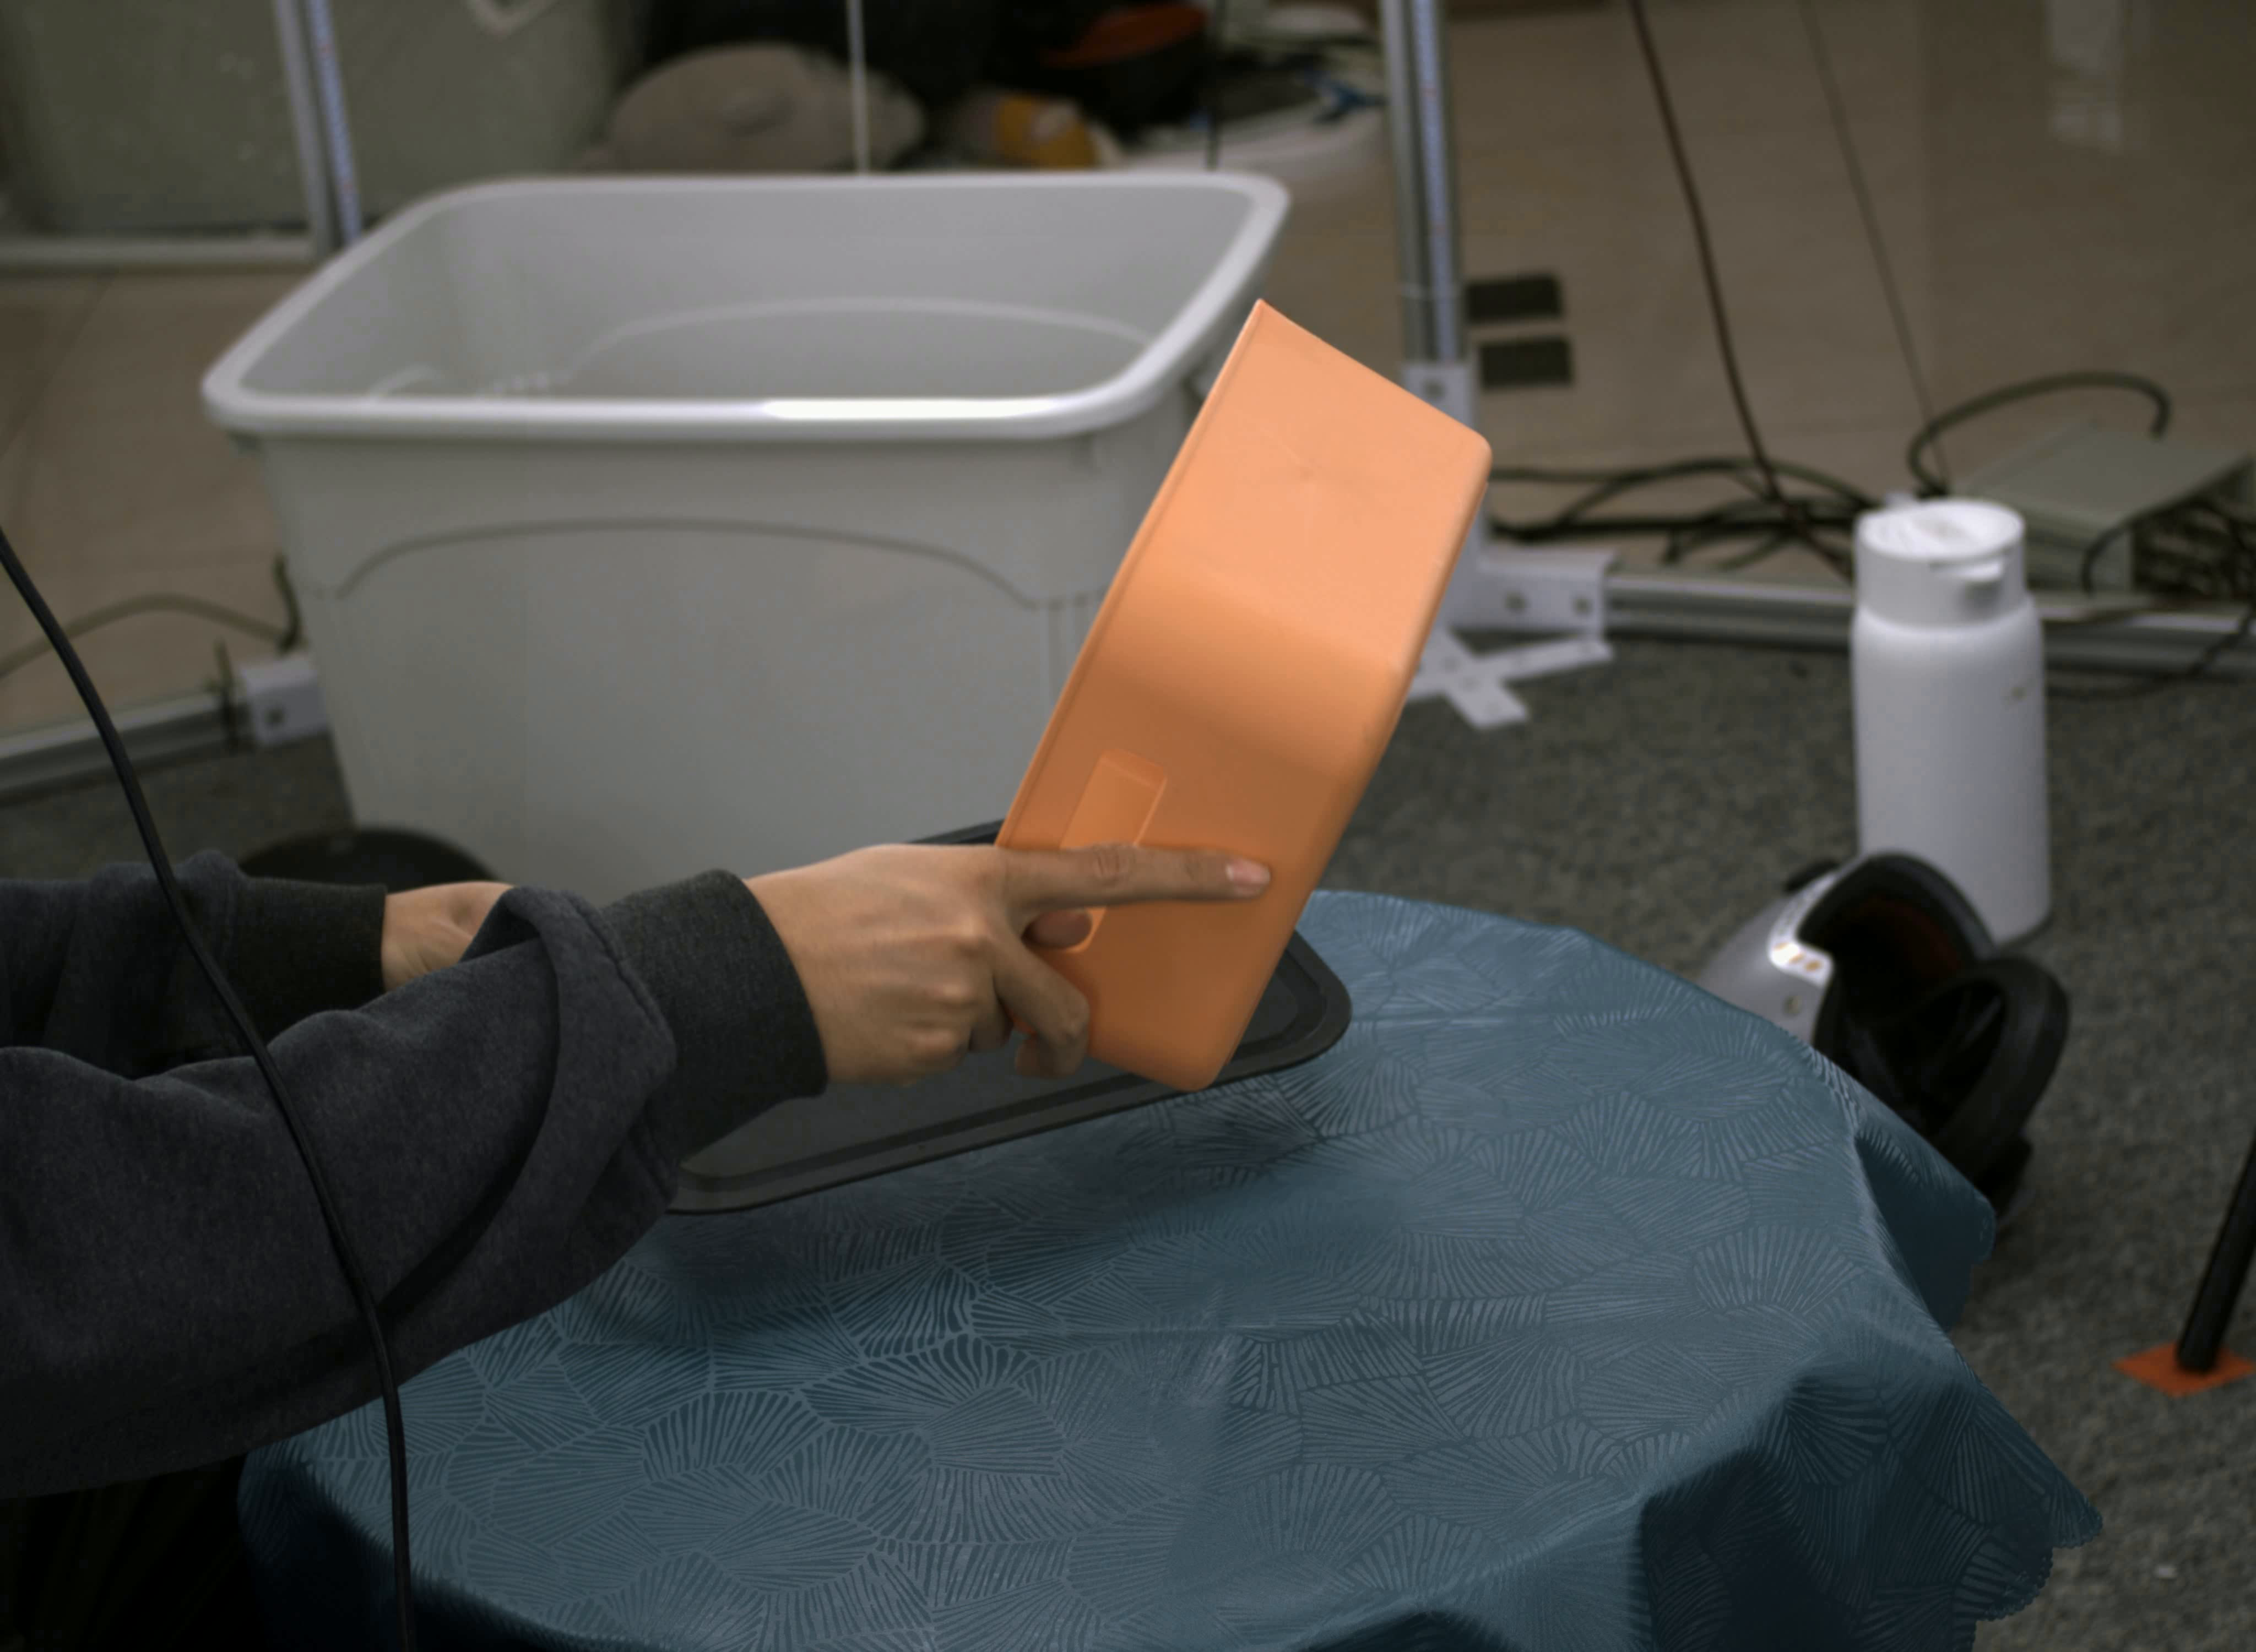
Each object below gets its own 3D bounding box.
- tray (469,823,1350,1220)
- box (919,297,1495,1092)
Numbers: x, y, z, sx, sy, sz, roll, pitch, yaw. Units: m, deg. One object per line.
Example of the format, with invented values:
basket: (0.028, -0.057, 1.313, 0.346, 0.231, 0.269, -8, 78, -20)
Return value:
tray: (-0.089, 0.068, 2.176, 0.324, 0.010, 0.208, -14, 34, -20)
box: (0.032, -0.041, 1.927, 0.102, 0.202, 0.269, 26, 30, 0)
